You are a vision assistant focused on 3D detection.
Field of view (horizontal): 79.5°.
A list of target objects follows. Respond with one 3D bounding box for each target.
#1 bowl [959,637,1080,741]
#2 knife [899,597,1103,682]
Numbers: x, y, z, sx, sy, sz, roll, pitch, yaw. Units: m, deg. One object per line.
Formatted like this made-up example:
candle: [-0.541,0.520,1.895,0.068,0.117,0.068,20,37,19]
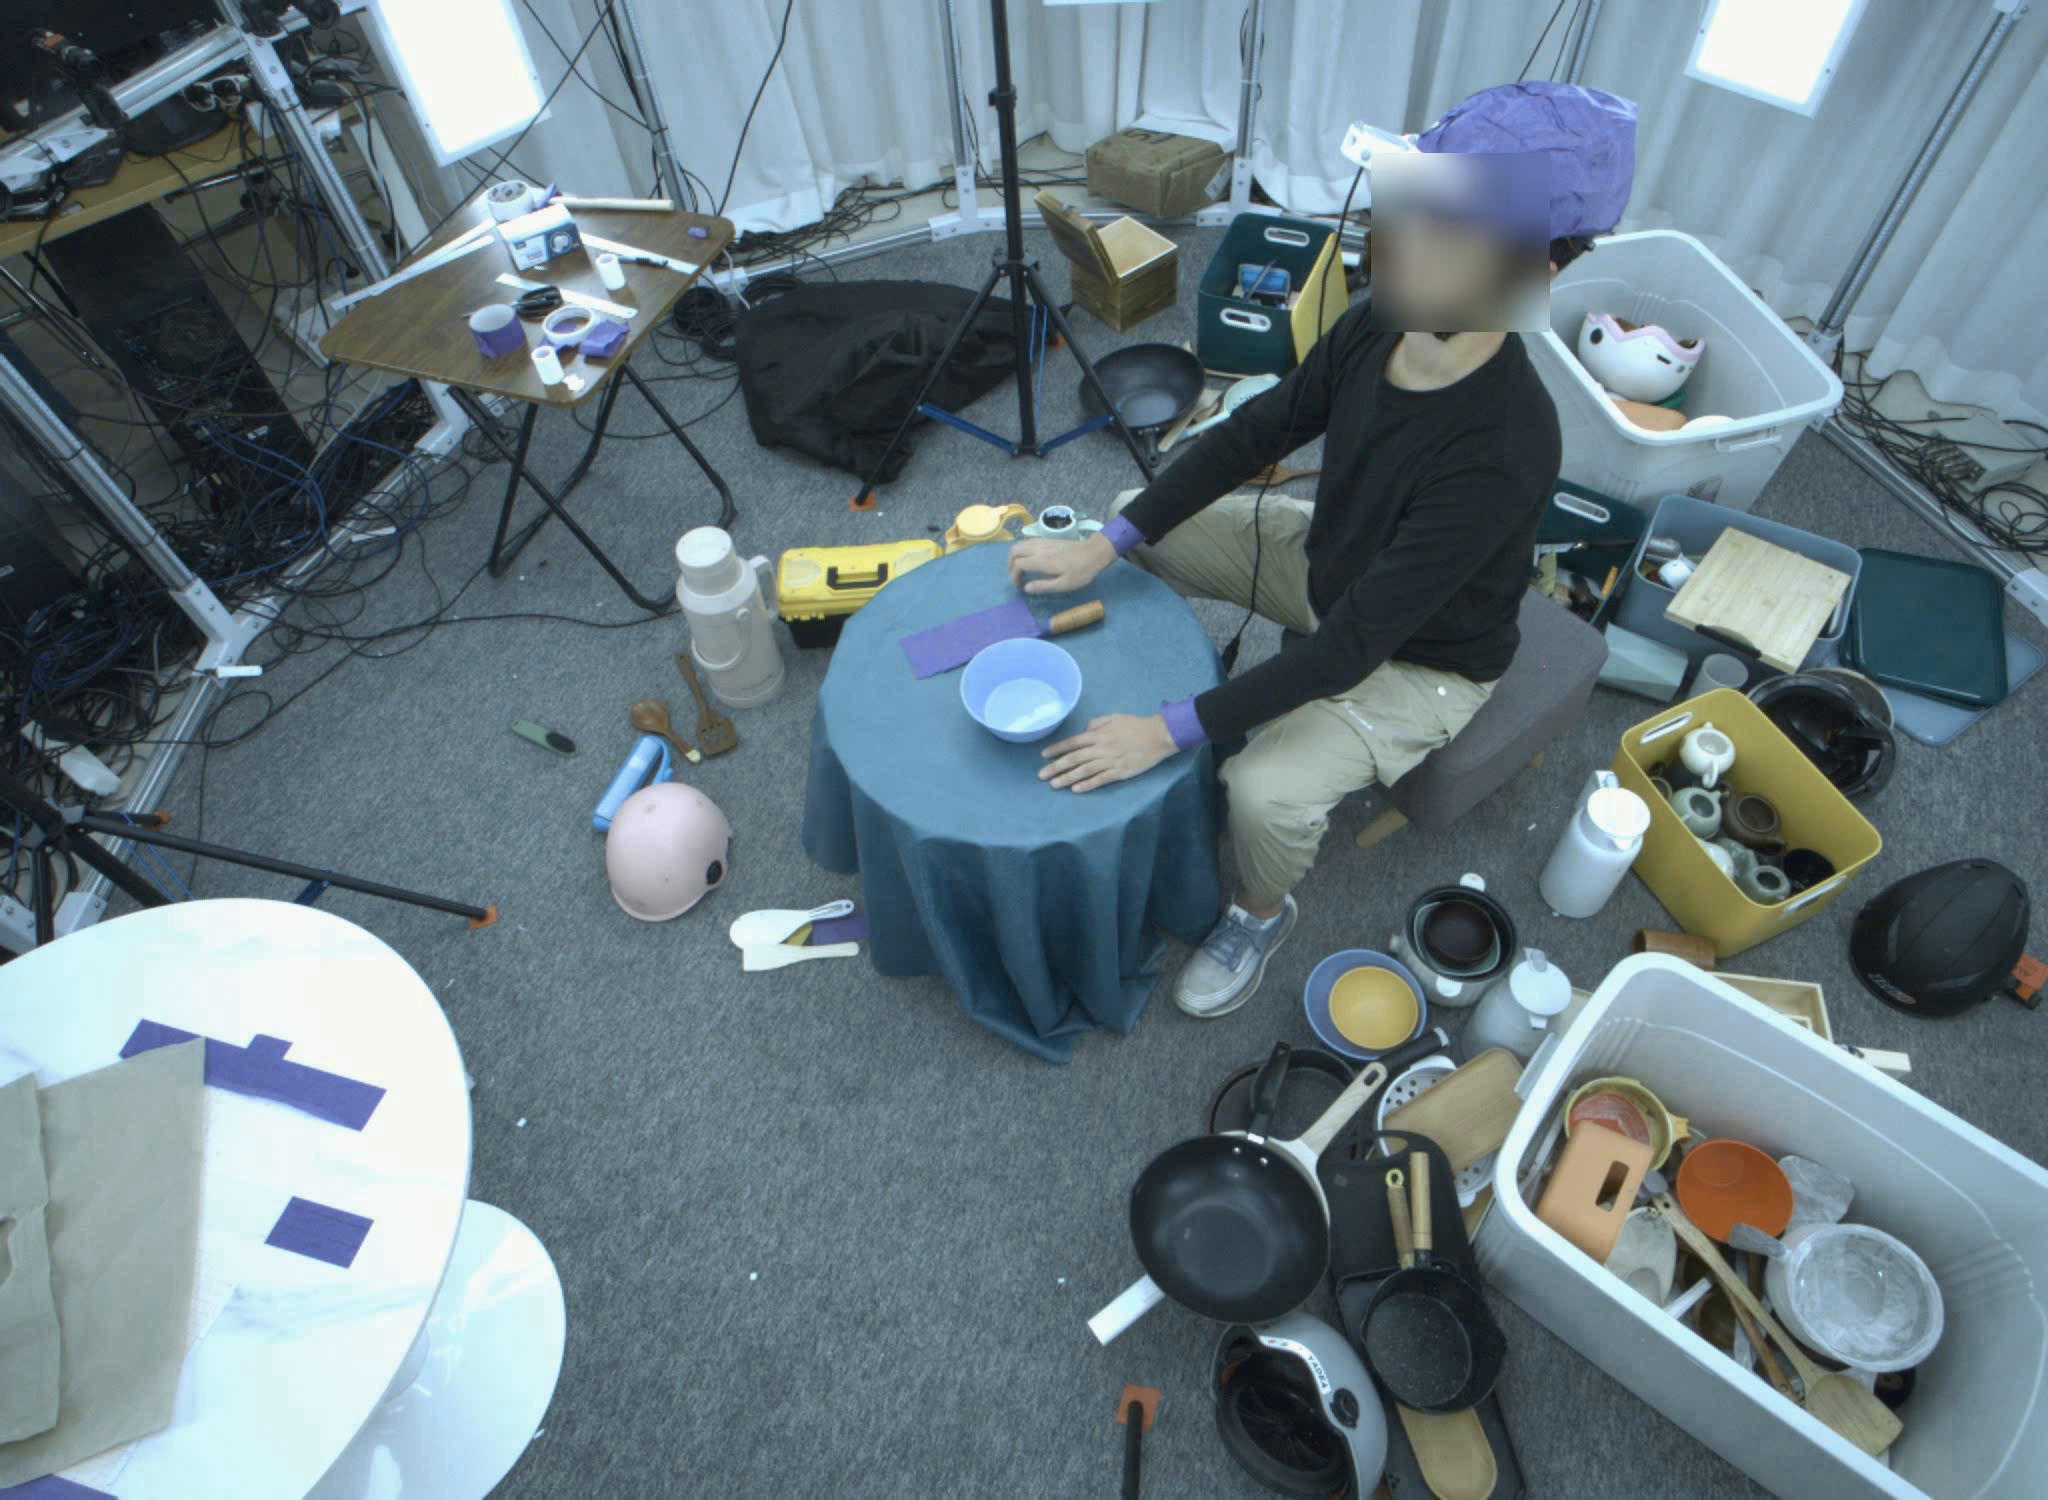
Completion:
bowl: [-0.005,-0.079,1.796,0.176,0.071,0.174,0,55,1]
knife: [-0.038,-0.194,1.906,0.317,0.032,0.102,-19,56,-11]
